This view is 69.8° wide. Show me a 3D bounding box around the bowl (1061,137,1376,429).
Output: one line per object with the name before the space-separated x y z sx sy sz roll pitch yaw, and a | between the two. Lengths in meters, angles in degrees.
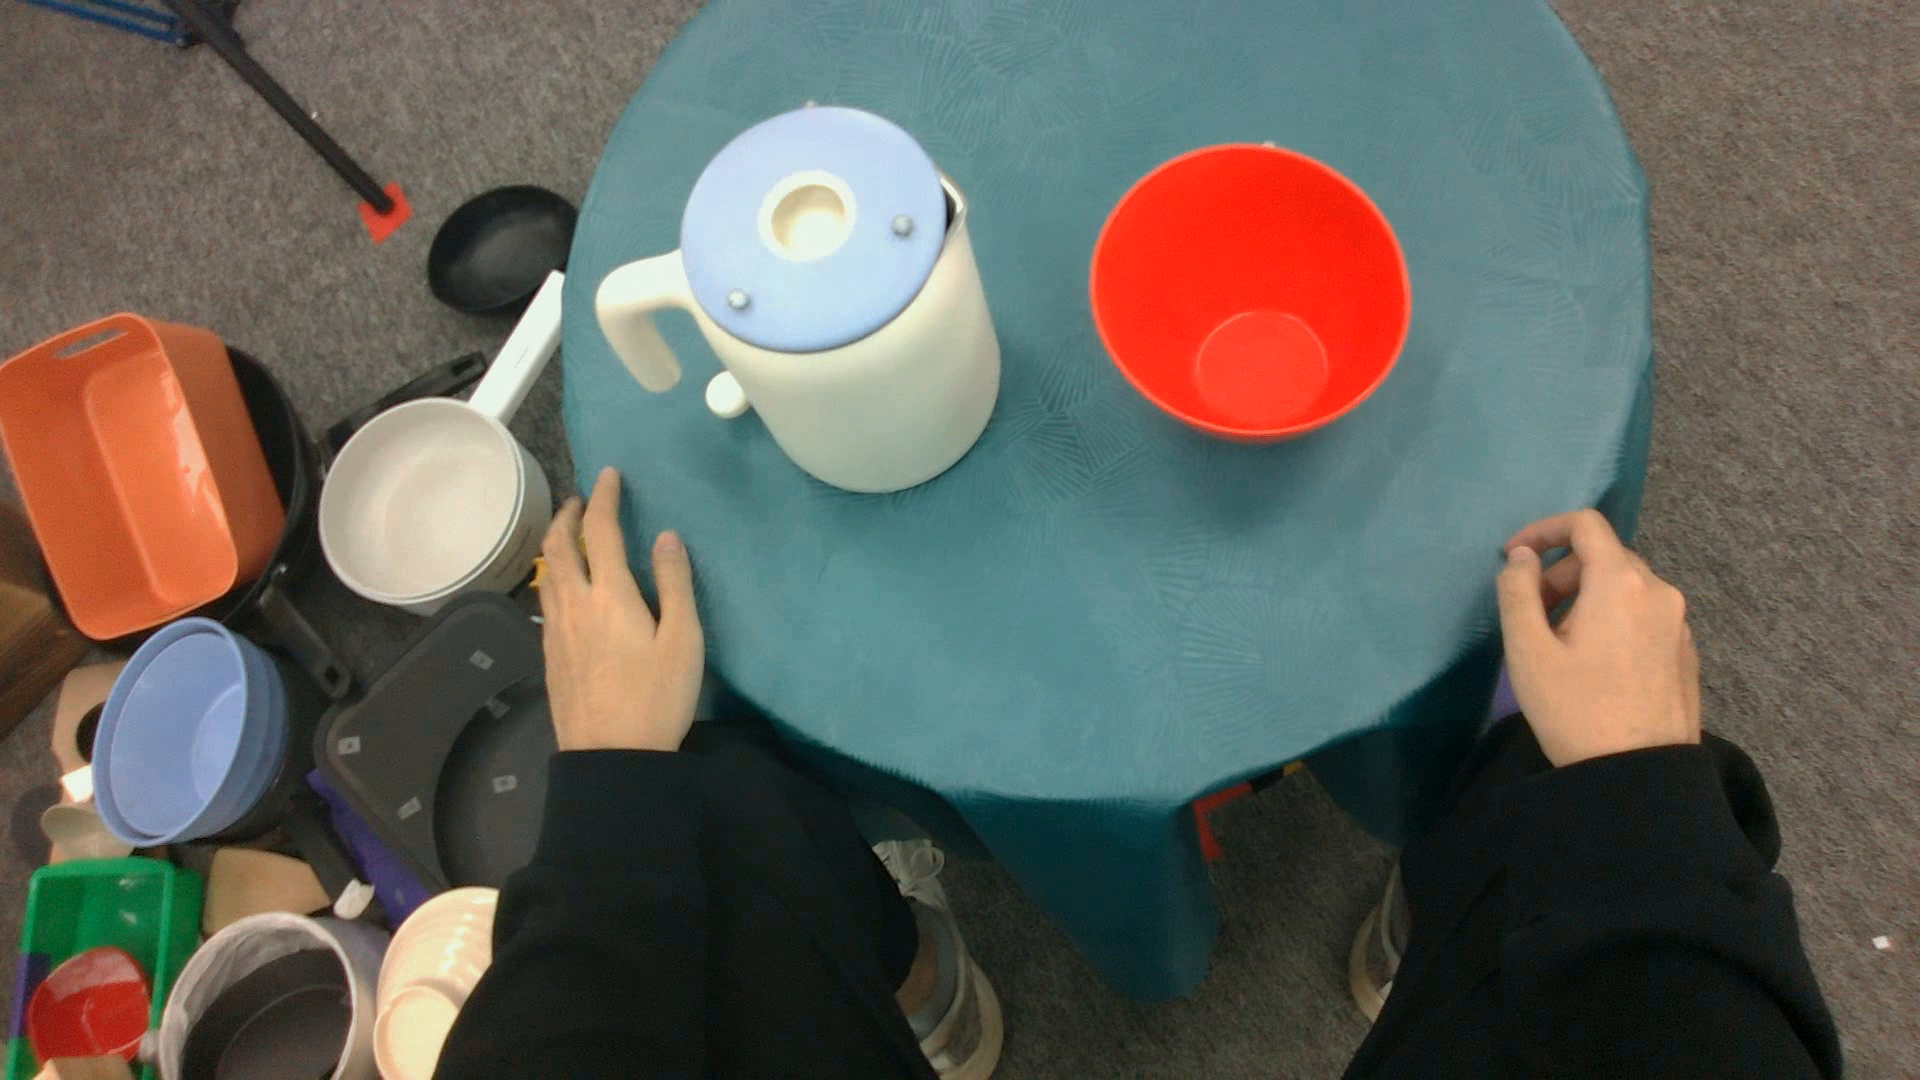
bowl | 0.128 -0.114 0.687 0.148 0.104 0.148 -2 72 7

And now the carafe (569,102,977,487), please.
carafe | -0.090 -0.109 0.679 0.191 0.182 0.132 -12 70 7
